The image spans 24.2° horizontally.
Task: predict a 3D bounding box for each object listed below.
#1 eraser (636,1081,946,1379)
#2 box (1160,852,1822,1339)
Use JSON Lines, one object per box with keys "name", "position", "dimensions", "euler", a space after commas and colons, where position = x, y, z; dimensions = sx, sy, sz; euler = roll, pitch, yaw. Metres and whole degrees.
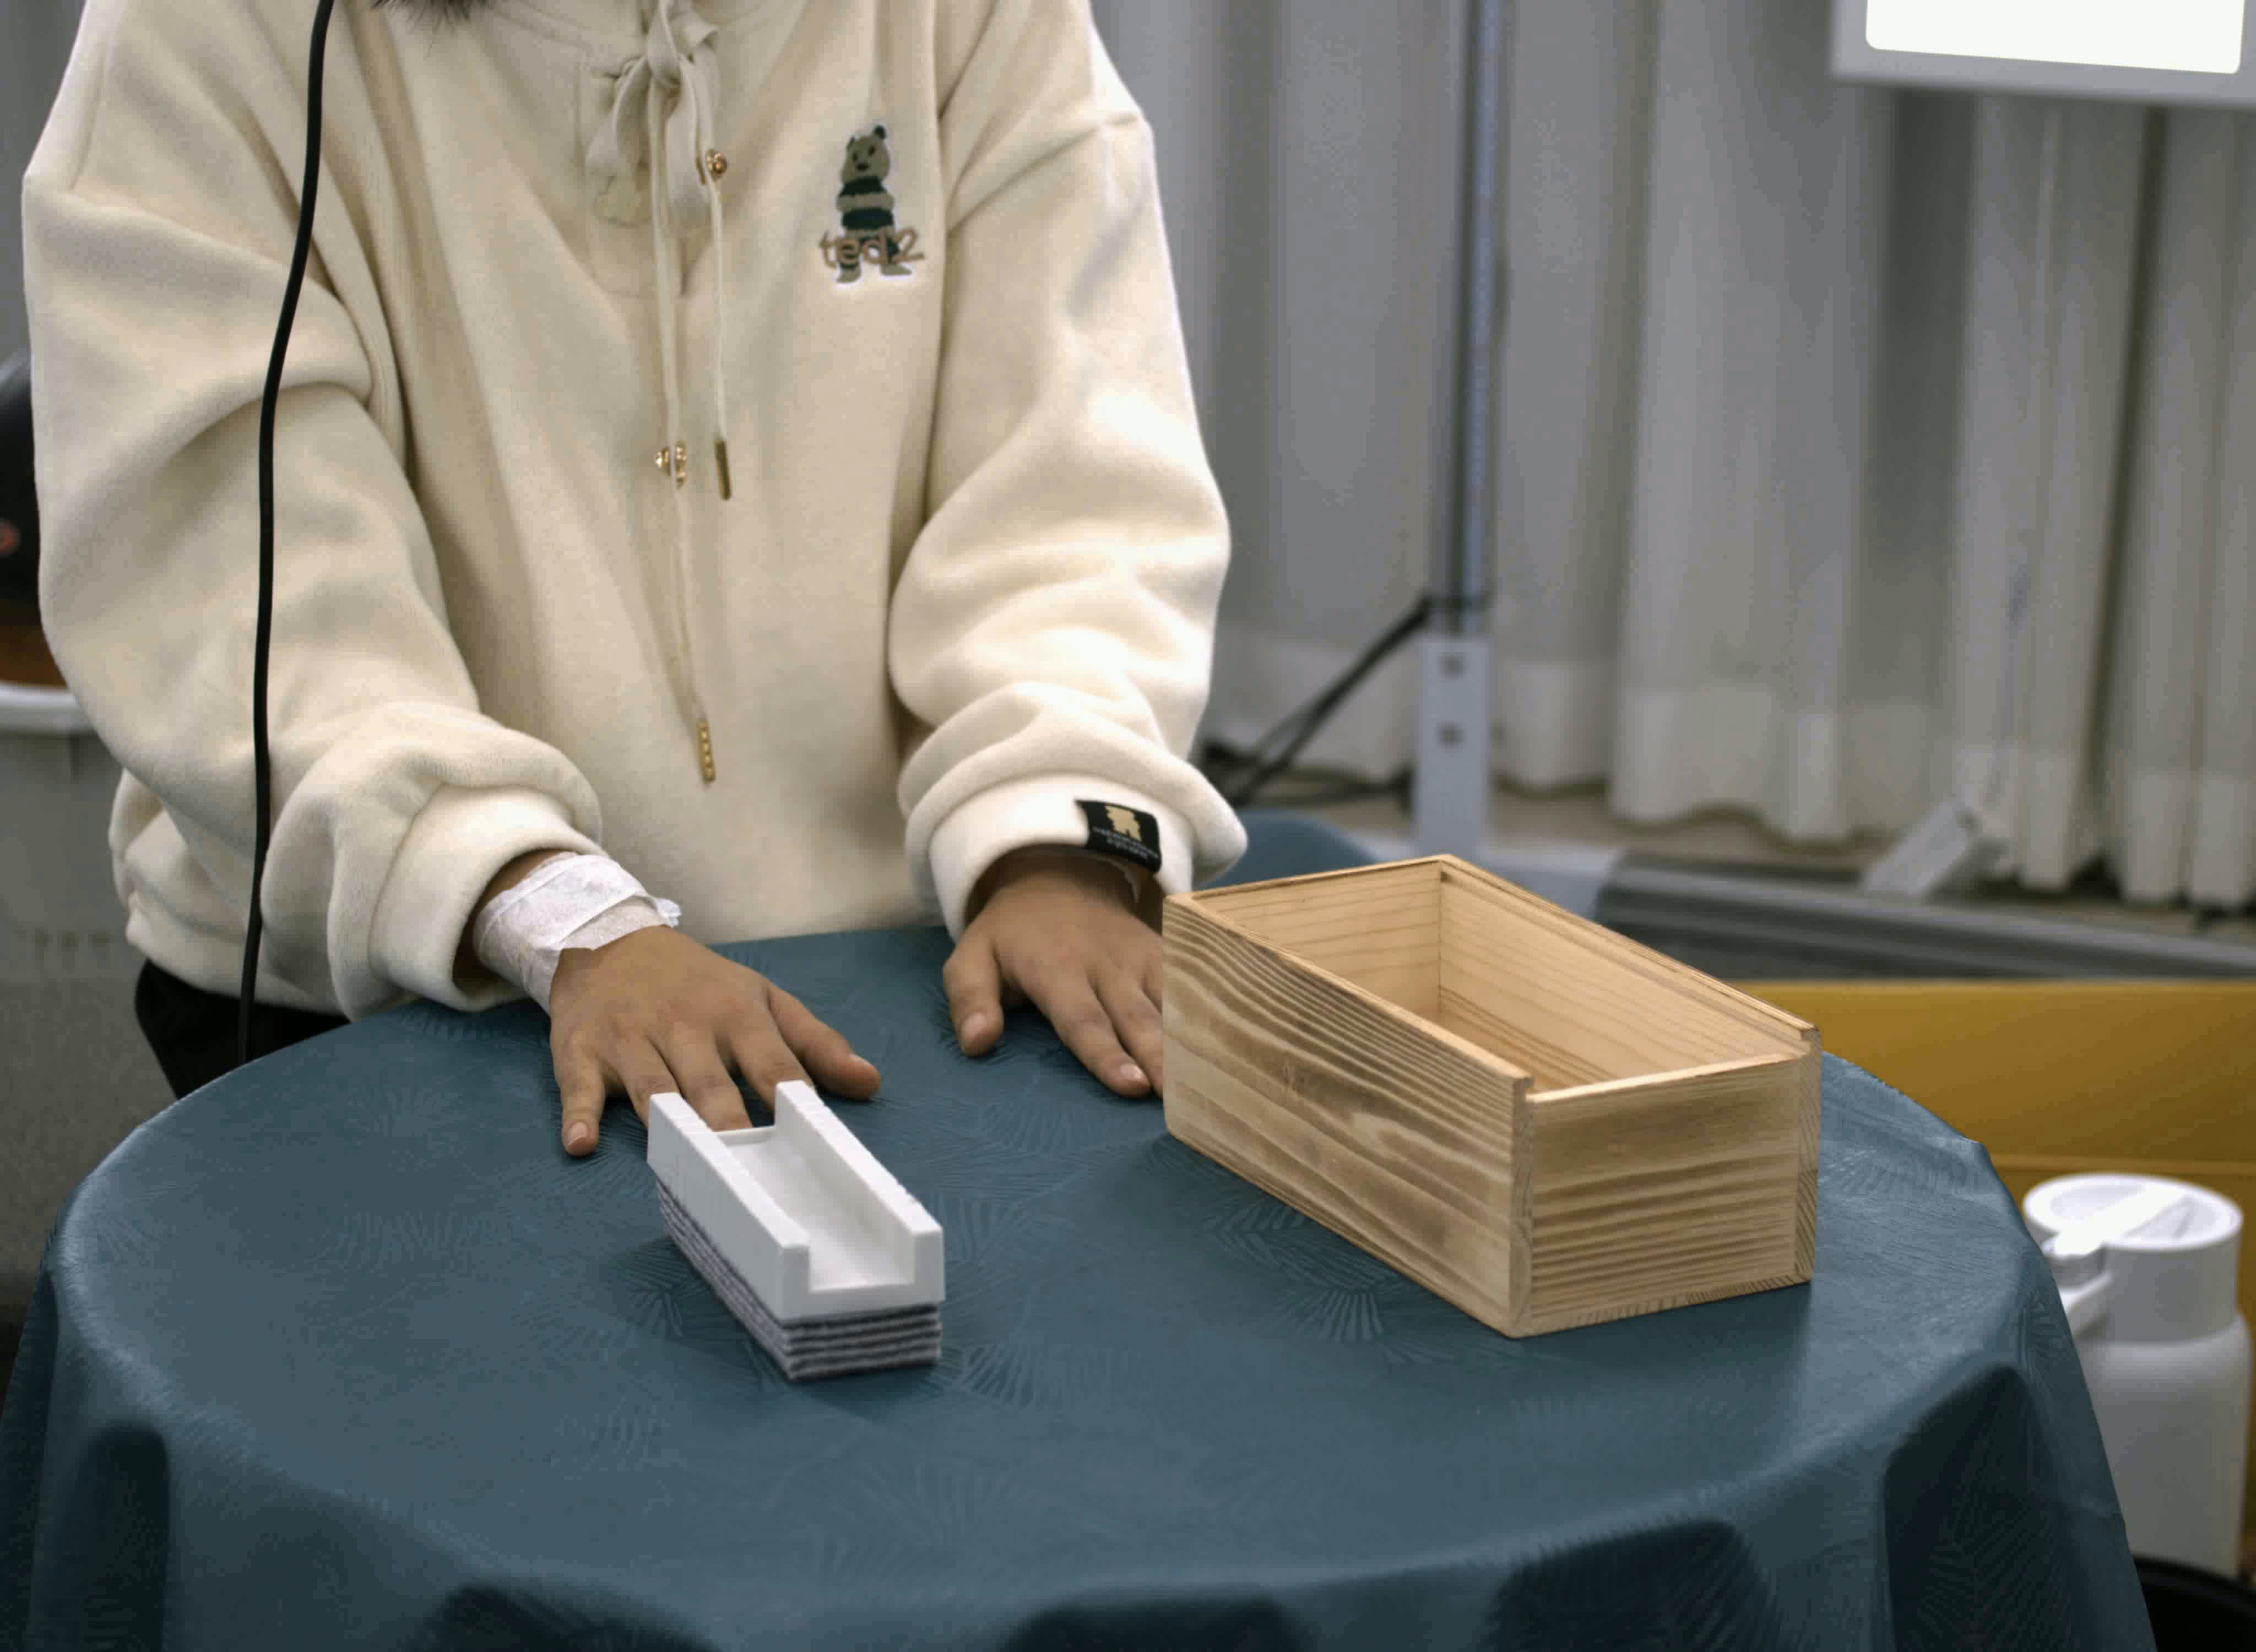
{"name": "eraser", "position": [-0.099, 0.115, 1.520], "dimensions": [0.050, 0.047, 0.132], "euler": [-8, 19, -22]}
{"name": "box", "position": [0.106, 0.077, 1.602], "dimensions": [0.108, 0.081, 0.209], "euler": [-8, 18, -28]}
